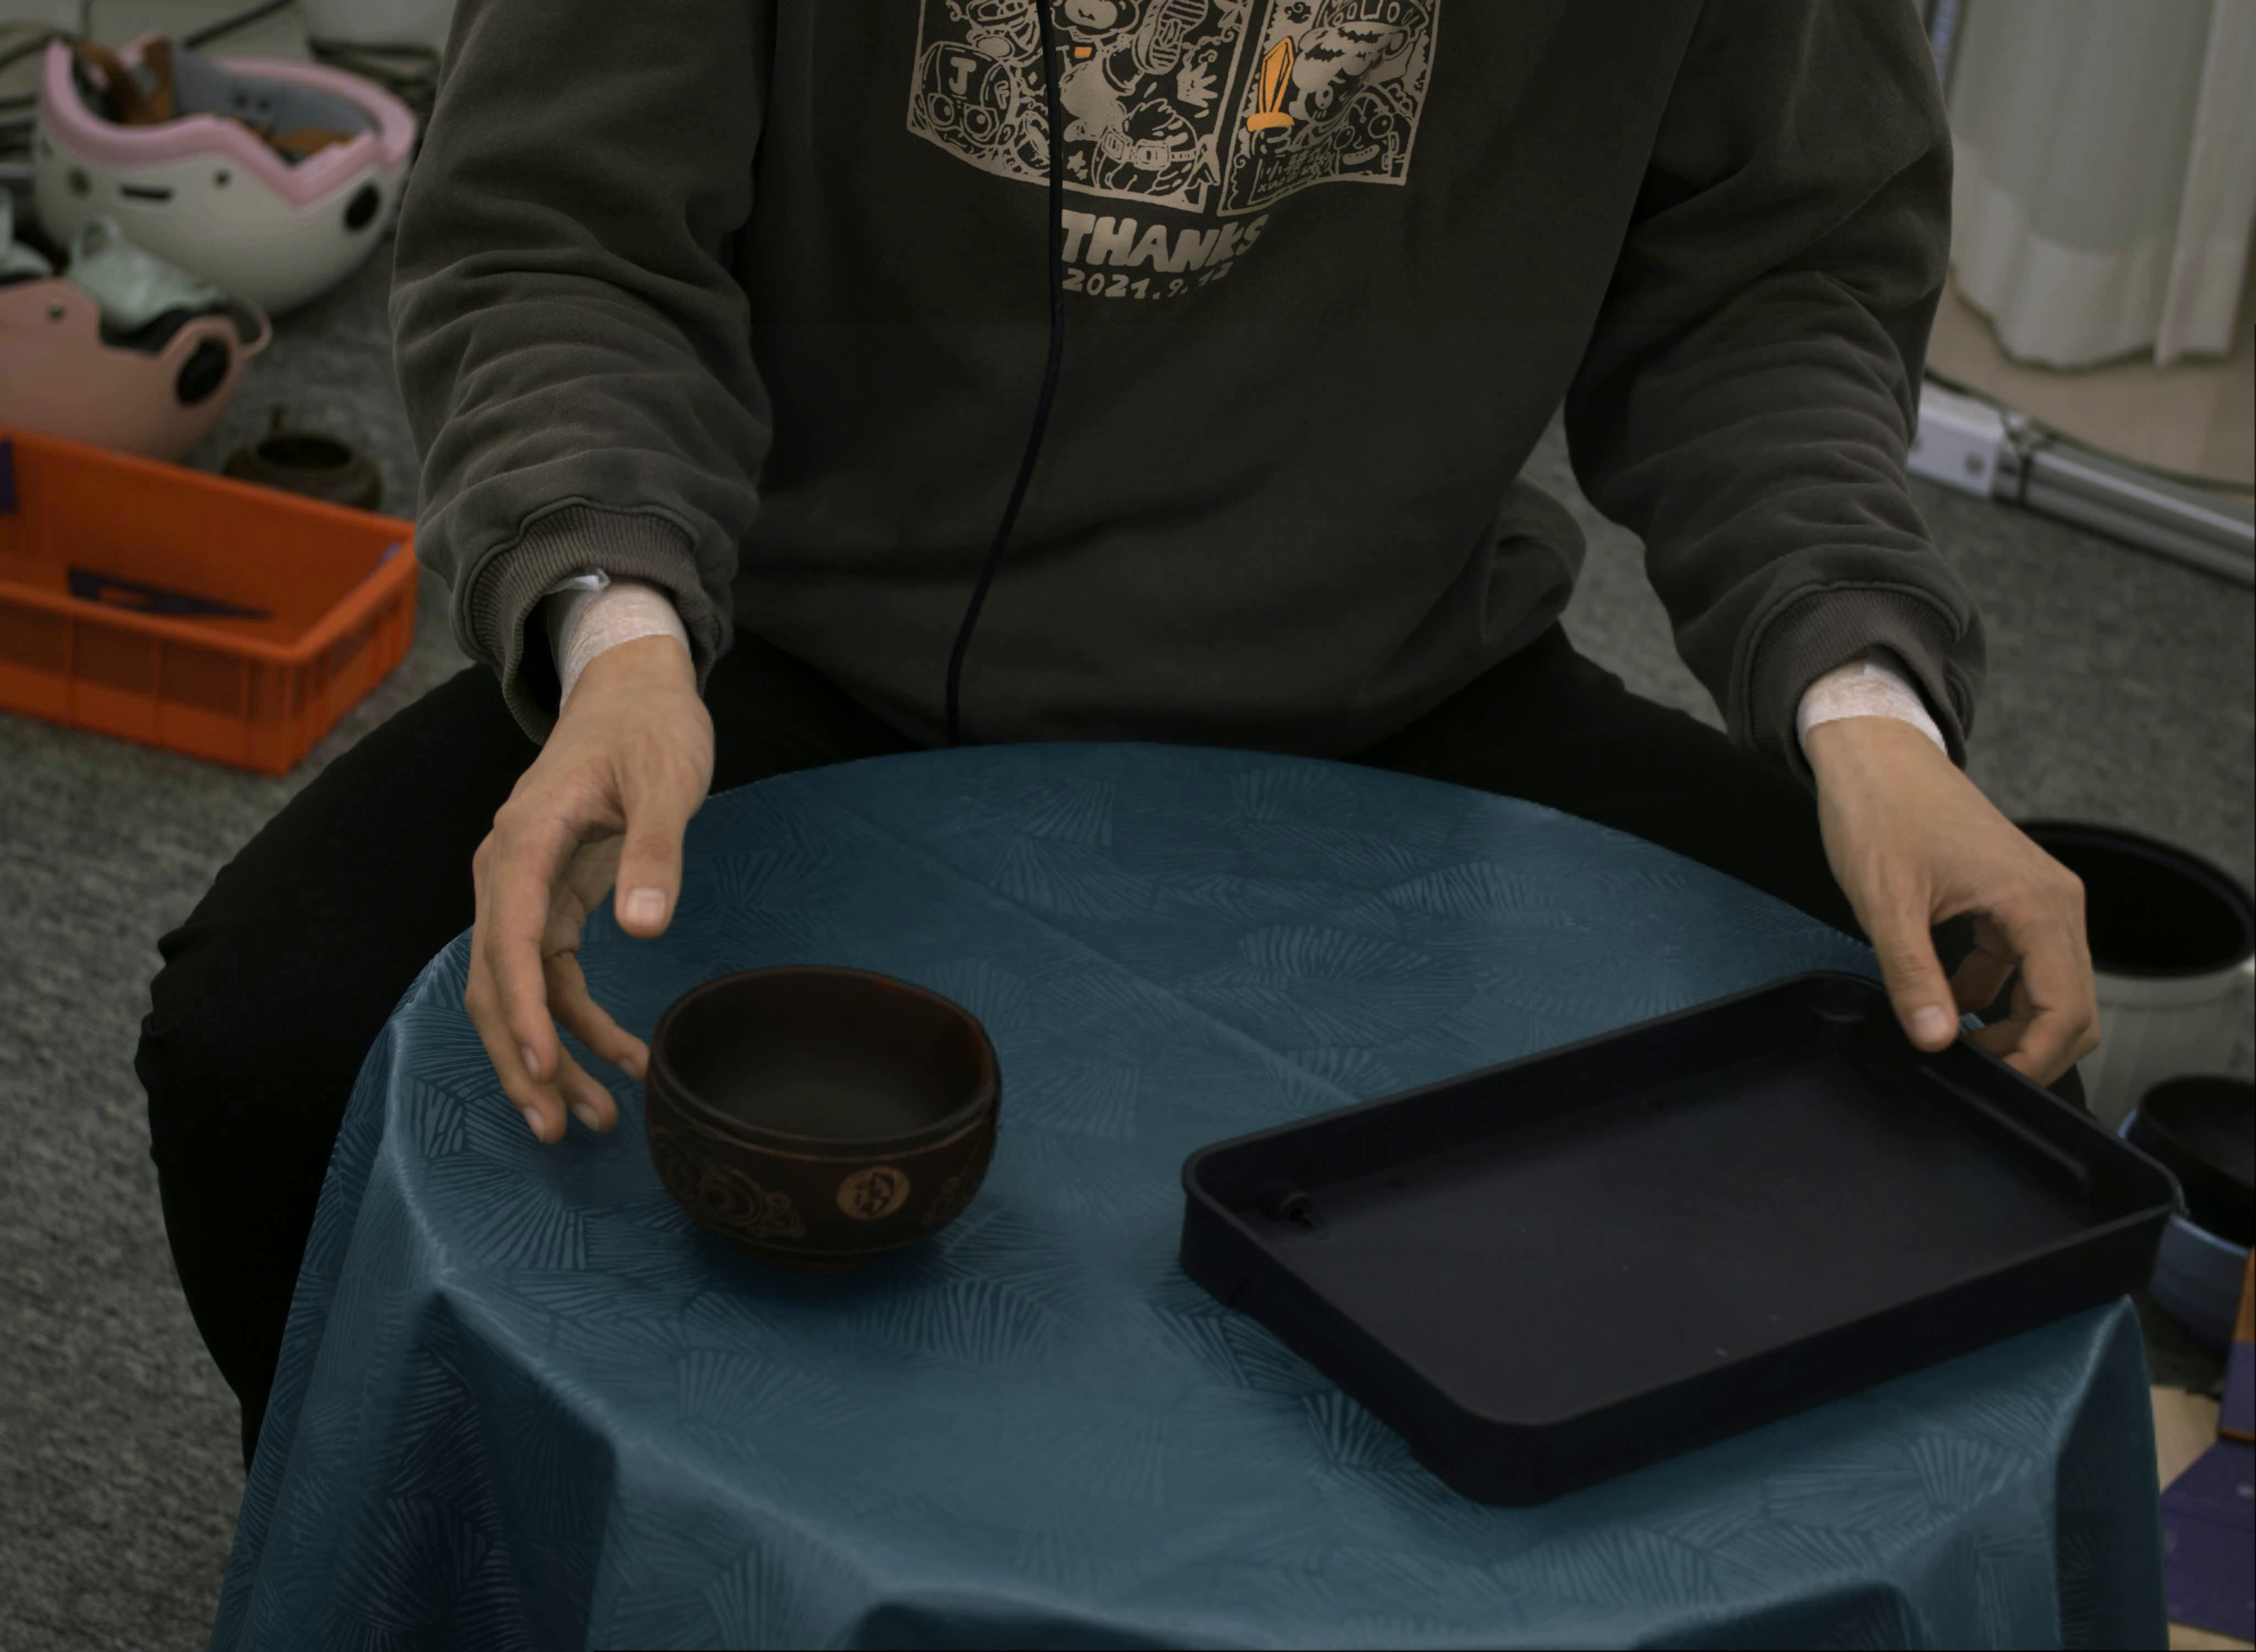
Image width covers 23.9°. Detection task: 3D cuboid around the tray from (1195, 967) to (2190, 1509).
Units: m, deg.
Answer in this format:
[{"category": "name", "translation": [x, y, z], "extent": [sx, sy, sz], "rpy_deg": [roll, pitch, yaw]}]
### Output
[{"category": "tray", "translation": [0.191, 0.132, 1.791], "extent": [0.316, 0.037, 0.186], "rpy_deg": [-15, 33, -35]}]

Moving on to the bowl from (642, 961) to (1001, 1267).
[{"category": "bowl", "translation": [-0.102, 0.101, 1.746], "extent": [0.117, 0.069, 0.119], "rpy_deg": [4, 25, -2]}]
